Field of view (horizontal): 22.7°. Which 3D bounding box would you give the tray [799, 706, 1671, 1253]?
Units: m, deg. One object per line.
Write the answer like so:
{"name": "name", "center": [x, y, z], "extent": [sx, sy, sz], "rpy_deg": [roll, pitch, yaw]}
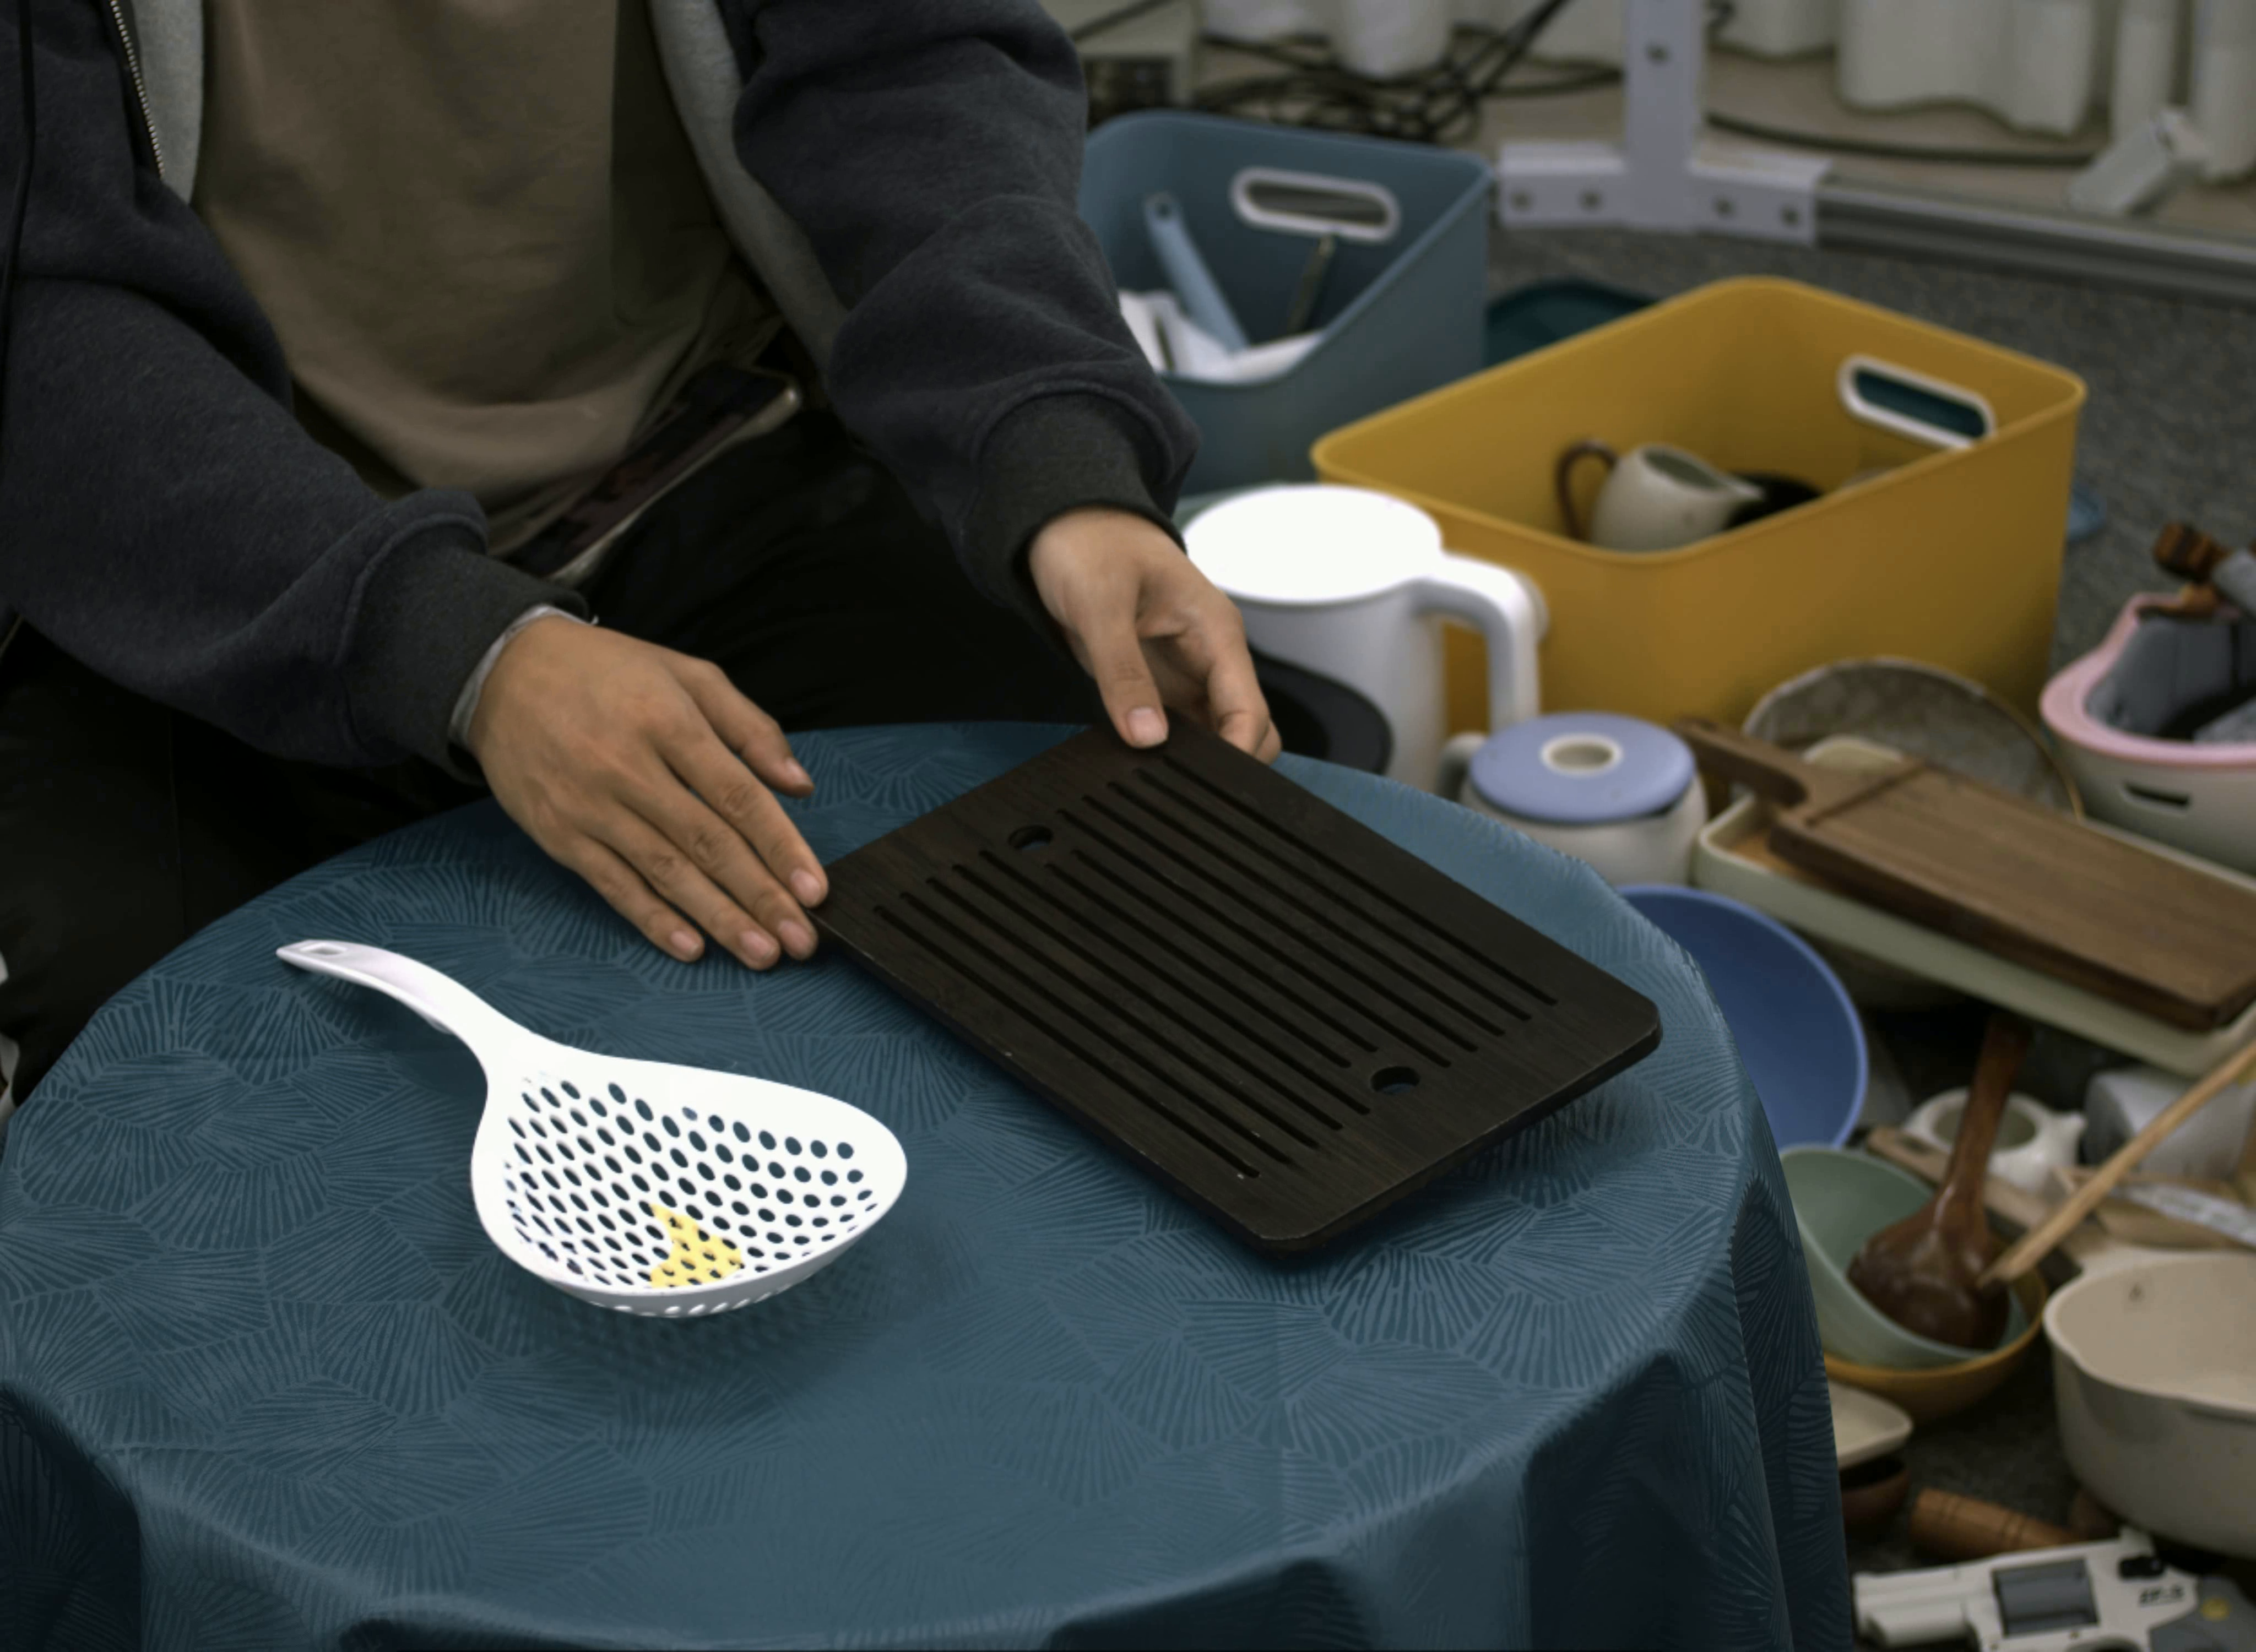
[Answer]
{"name": "tray", "center": [0.032, 0.050, 1.952], "extent": [0.172, 0.018, 0.306], "rpy_deg": [-27, 36, -26]}

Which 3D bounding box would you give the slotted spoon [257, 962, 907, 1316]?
{"name": "slotted spoon", "center": [-0.203, 0.091, 1.896], "extent": [0.138, 0.050, 0.348], "rpy_deg": [-22, 33, -29]}
